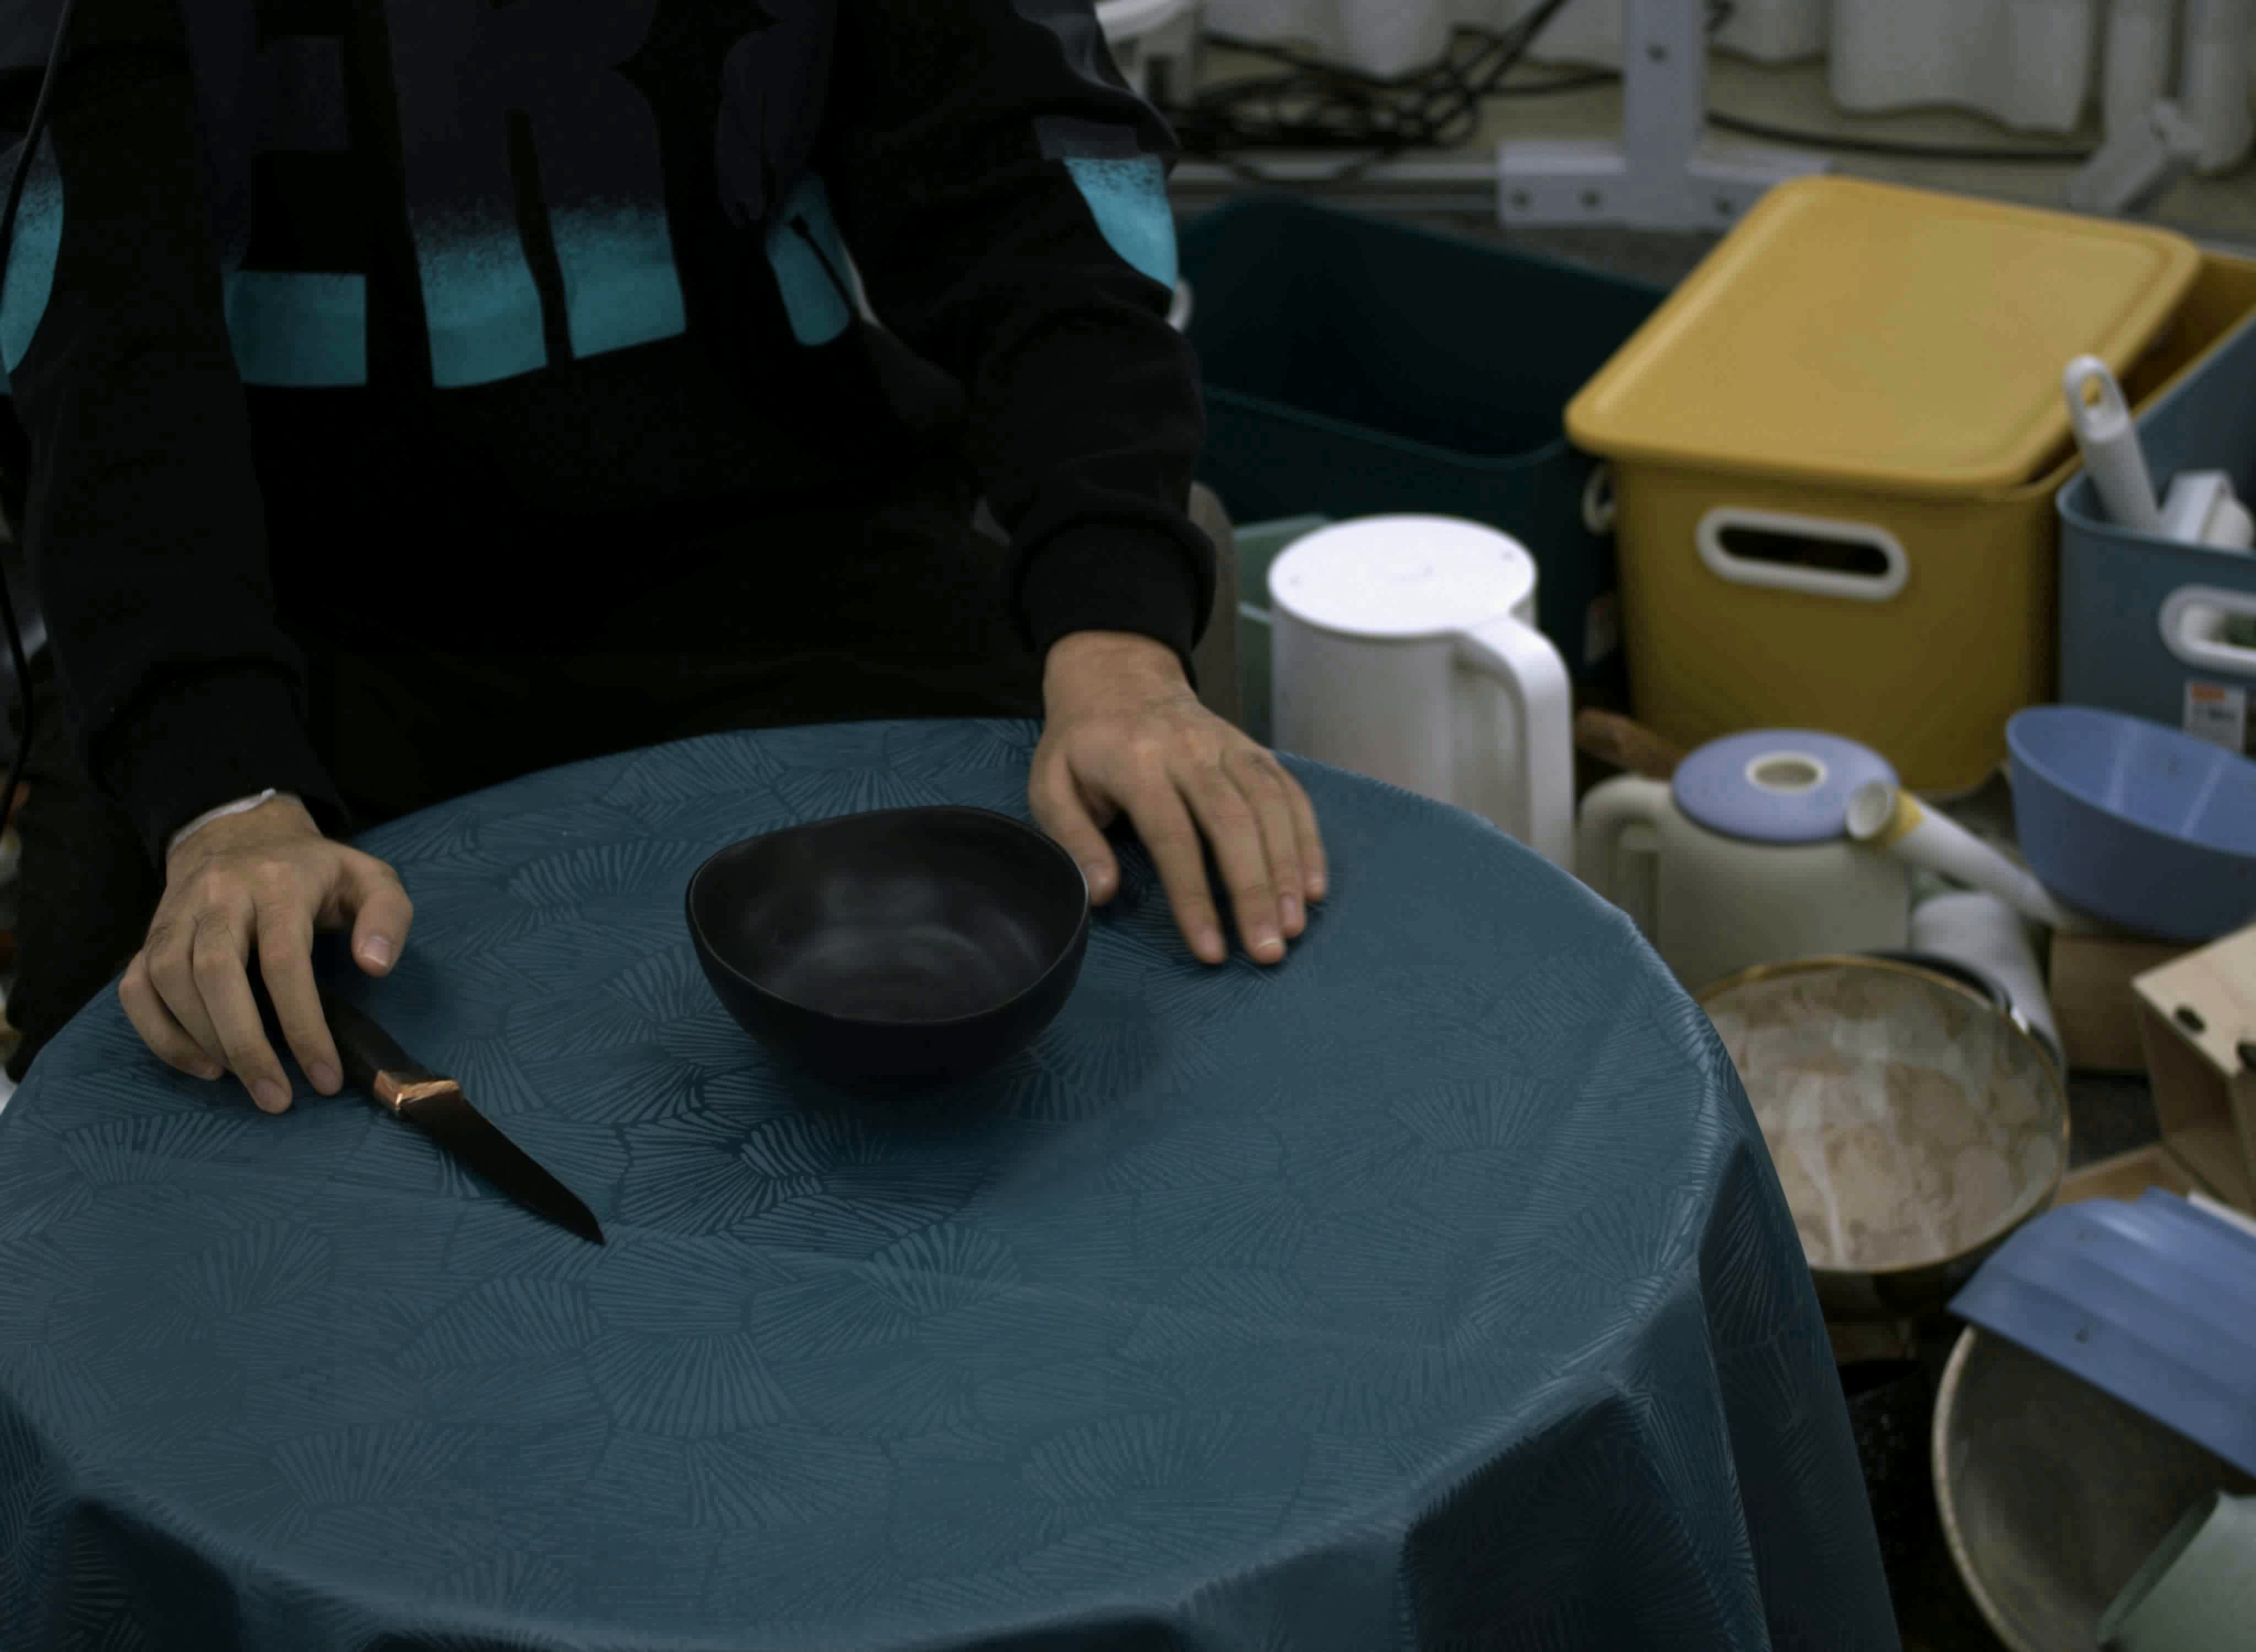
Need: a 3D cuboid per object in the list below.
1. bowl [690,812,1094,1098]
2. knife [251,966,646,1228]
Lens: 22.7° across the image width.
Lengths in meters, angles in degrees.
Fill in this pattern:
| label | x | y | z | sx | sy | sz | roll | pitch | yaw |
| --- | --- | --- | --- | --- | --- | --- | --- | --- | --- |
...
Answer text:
| label | x | y | z | sx | sy | sz | roll | pitch | yaw |
| --- | --- | --- | --- | --- | --- | --- | --- | --- | --- |
| bowl | -0.081 | 0.051 | 1.937 | 0.137 | 0.066 | 0.171 | -11 | 26 | -17 |
| knife | -0.235 | 0.095 | 1.925 | 0.026 | 0.017 | 0.226 | -25 | 35 | -32 |
